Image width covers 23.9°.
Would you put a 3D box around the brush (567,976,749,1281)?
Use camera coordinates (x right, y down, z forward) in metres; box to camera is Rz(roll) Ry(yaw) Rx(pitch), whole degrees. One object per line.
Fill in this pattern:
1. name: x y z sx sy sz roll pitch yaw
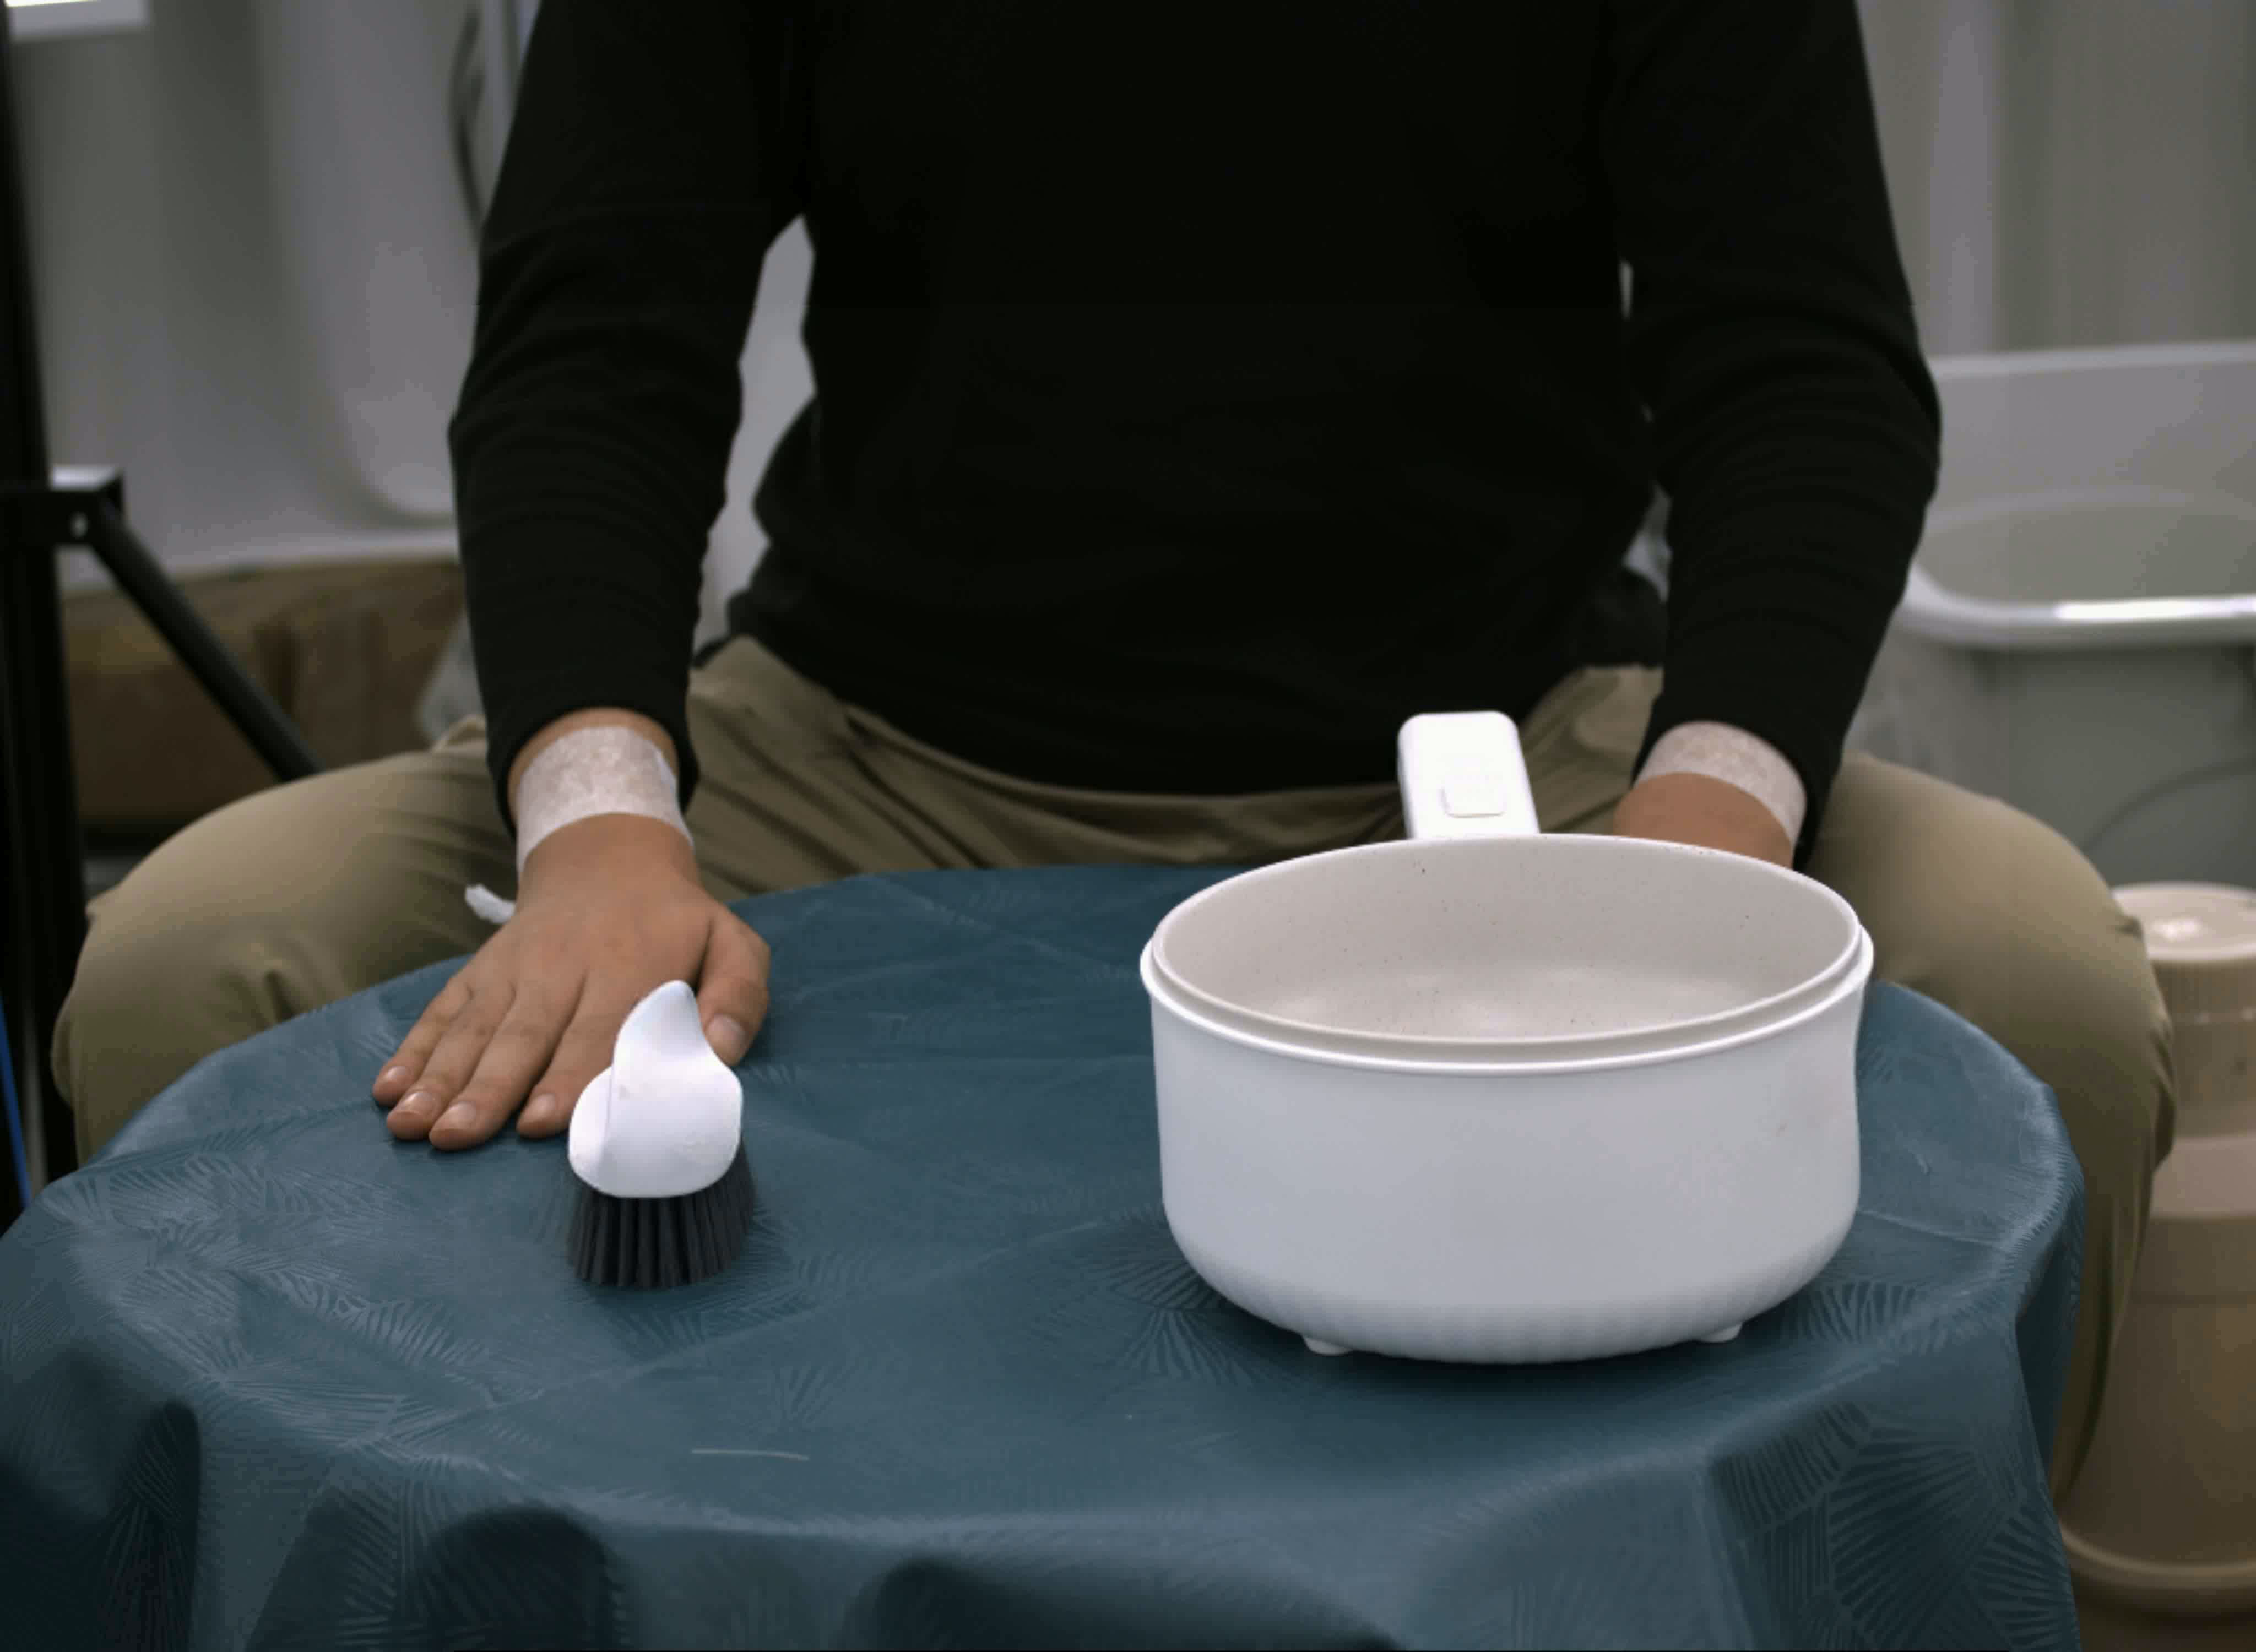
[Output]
1. brush: -0.137 0.082 1.538 0.050 0.072 0.099 -1 16 2

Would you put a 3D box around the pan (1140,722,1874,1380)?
1. pan: 0.106 0.060 1.537 0.200 0.102 0.356 -4 15 2
